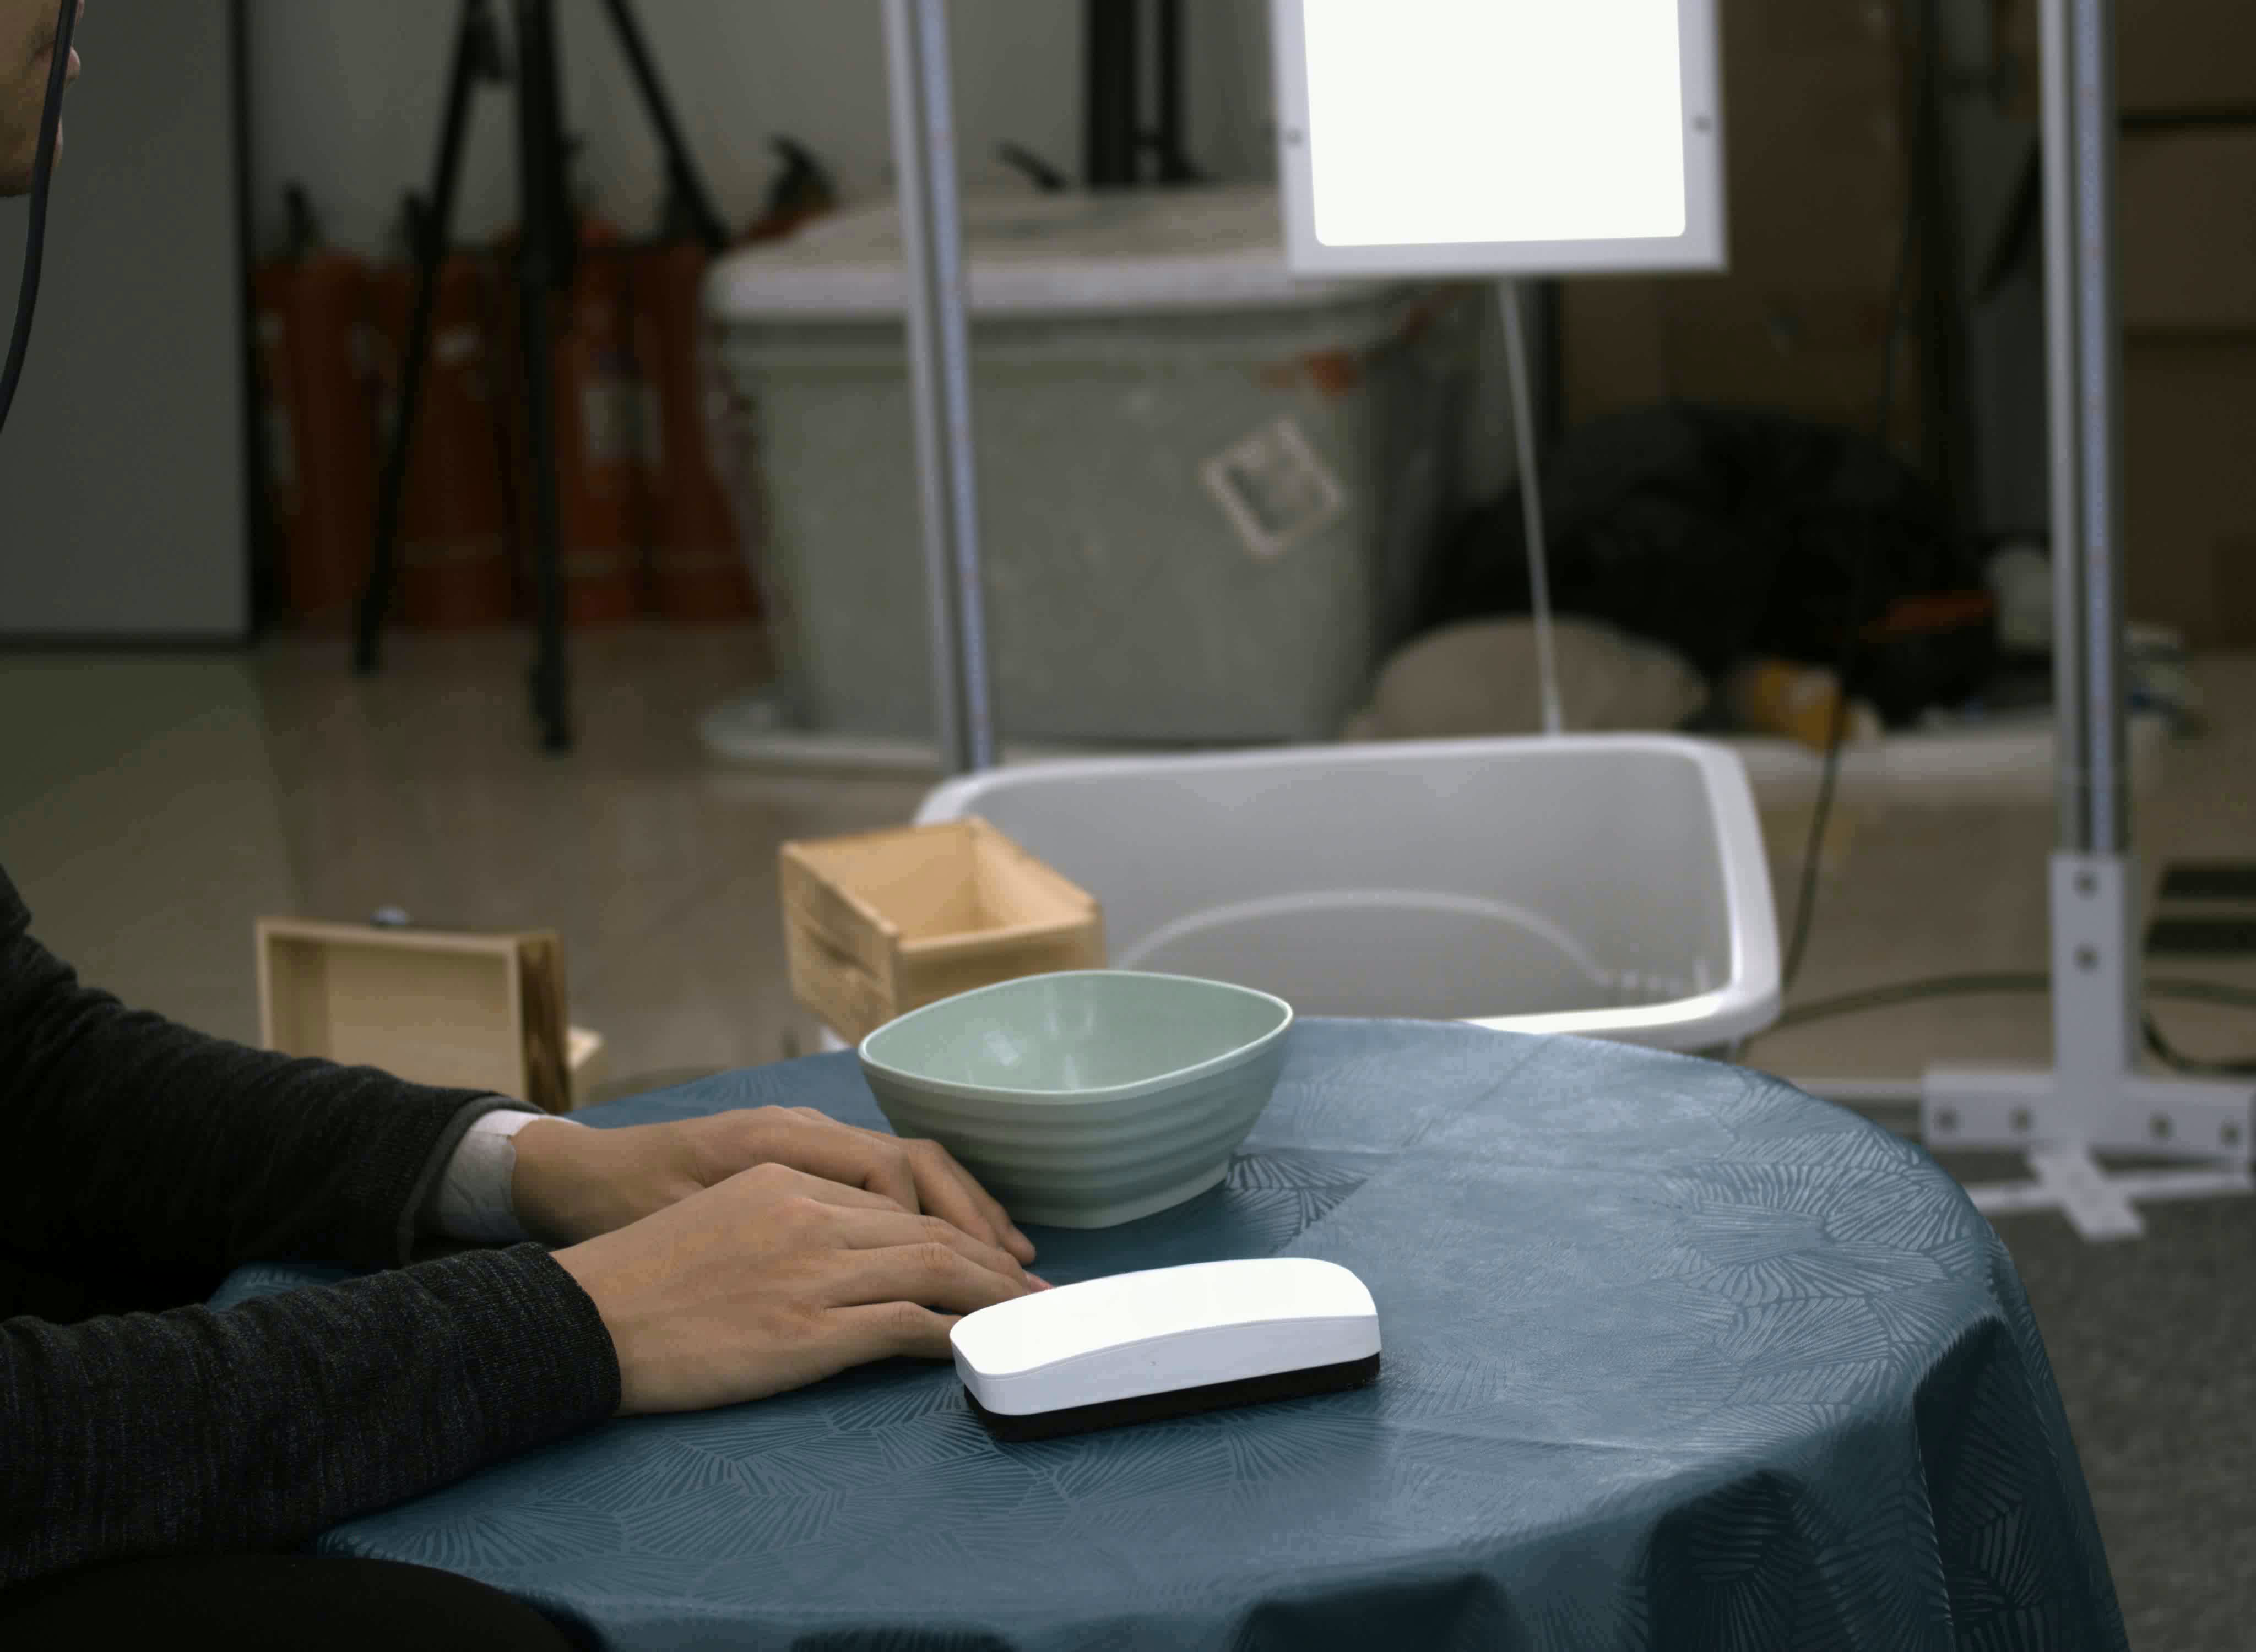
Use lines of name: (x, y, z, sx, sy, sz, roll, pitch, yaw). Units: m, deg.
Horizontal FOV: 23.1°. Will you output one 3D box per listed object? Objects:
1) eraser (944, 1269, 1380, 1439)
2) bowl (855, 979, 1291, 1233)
eraser: (0.011, 0.159, 1.696, 0.129, 0.034, 0.064, -7, 11, -12)
bowl: (-0.017, 0.099, 1.901, 0.151, 0.059, 0.151, -4, 13, -1)
